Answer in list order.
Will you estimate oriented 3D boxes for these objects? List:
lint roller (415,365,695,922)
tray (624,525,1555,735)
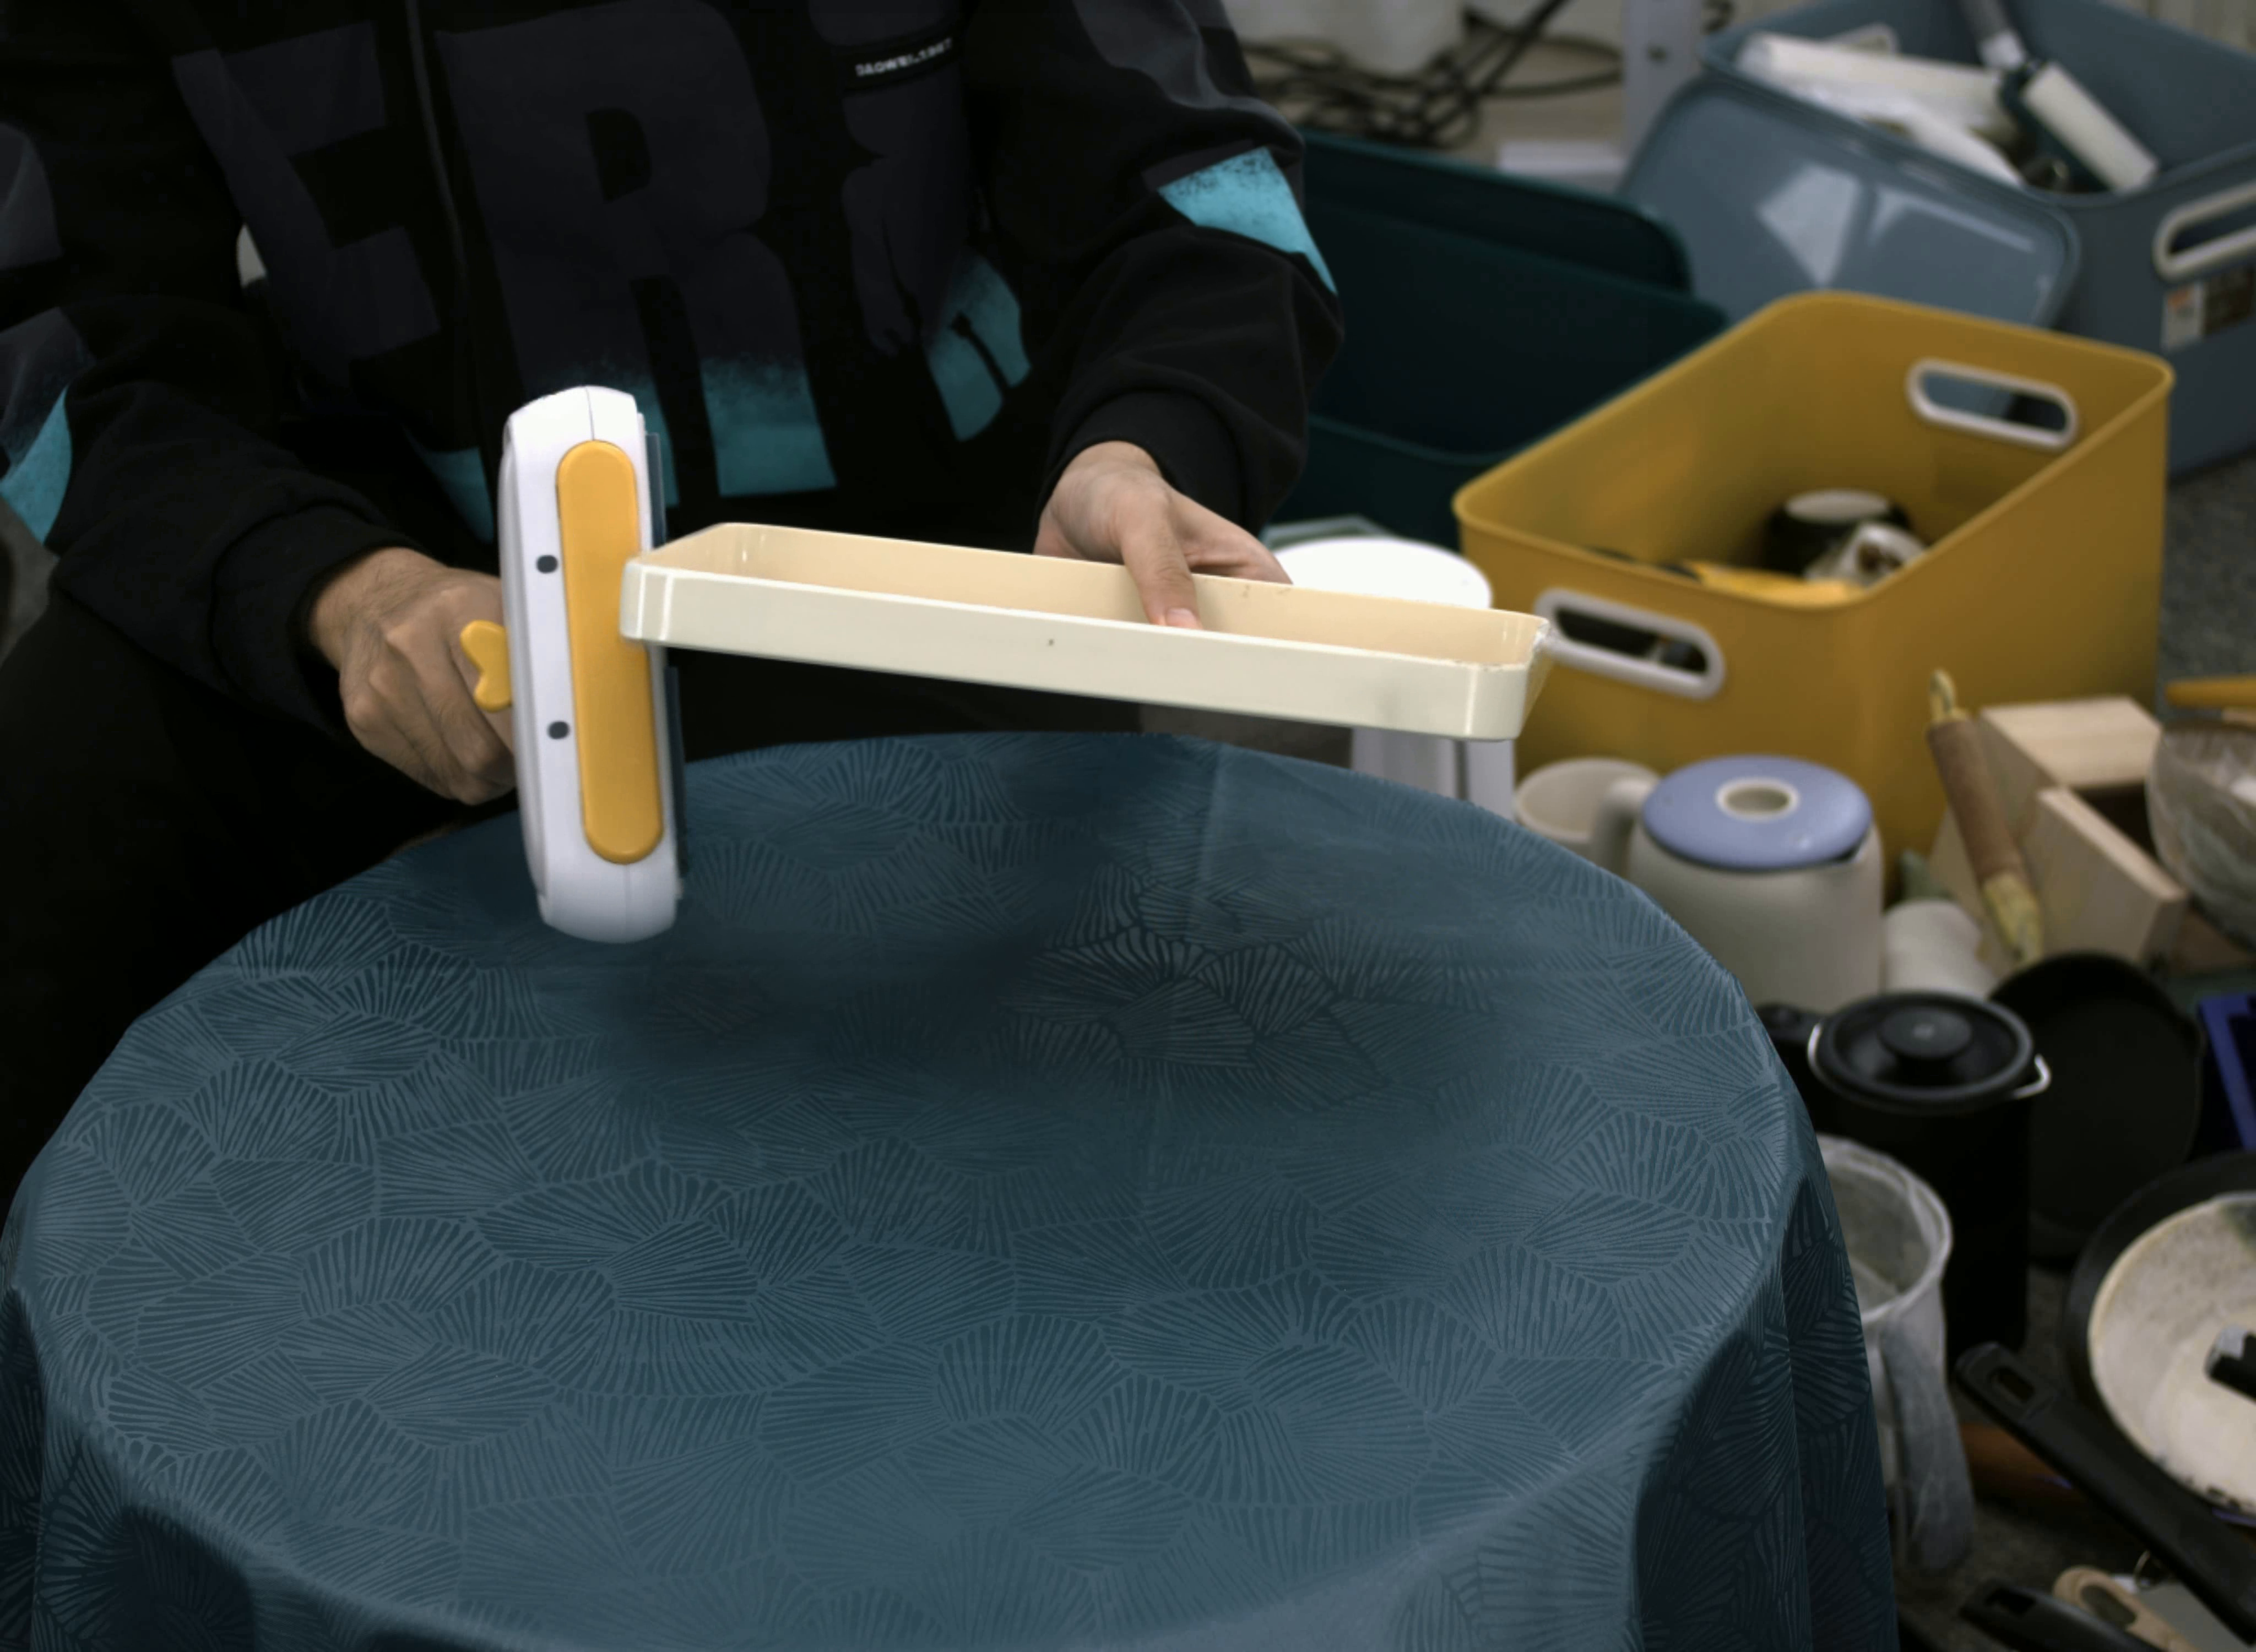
[{"bbox_3d":[-0.208,-0.050,1.993,0.074,0.194,0.190,-8,-9,-19],"label":"lint roller"},{"bbox_3d":[-0.009,-0.067,1.903,0.298,0.027,0.192,7,7,6],"label":"tray"}]
